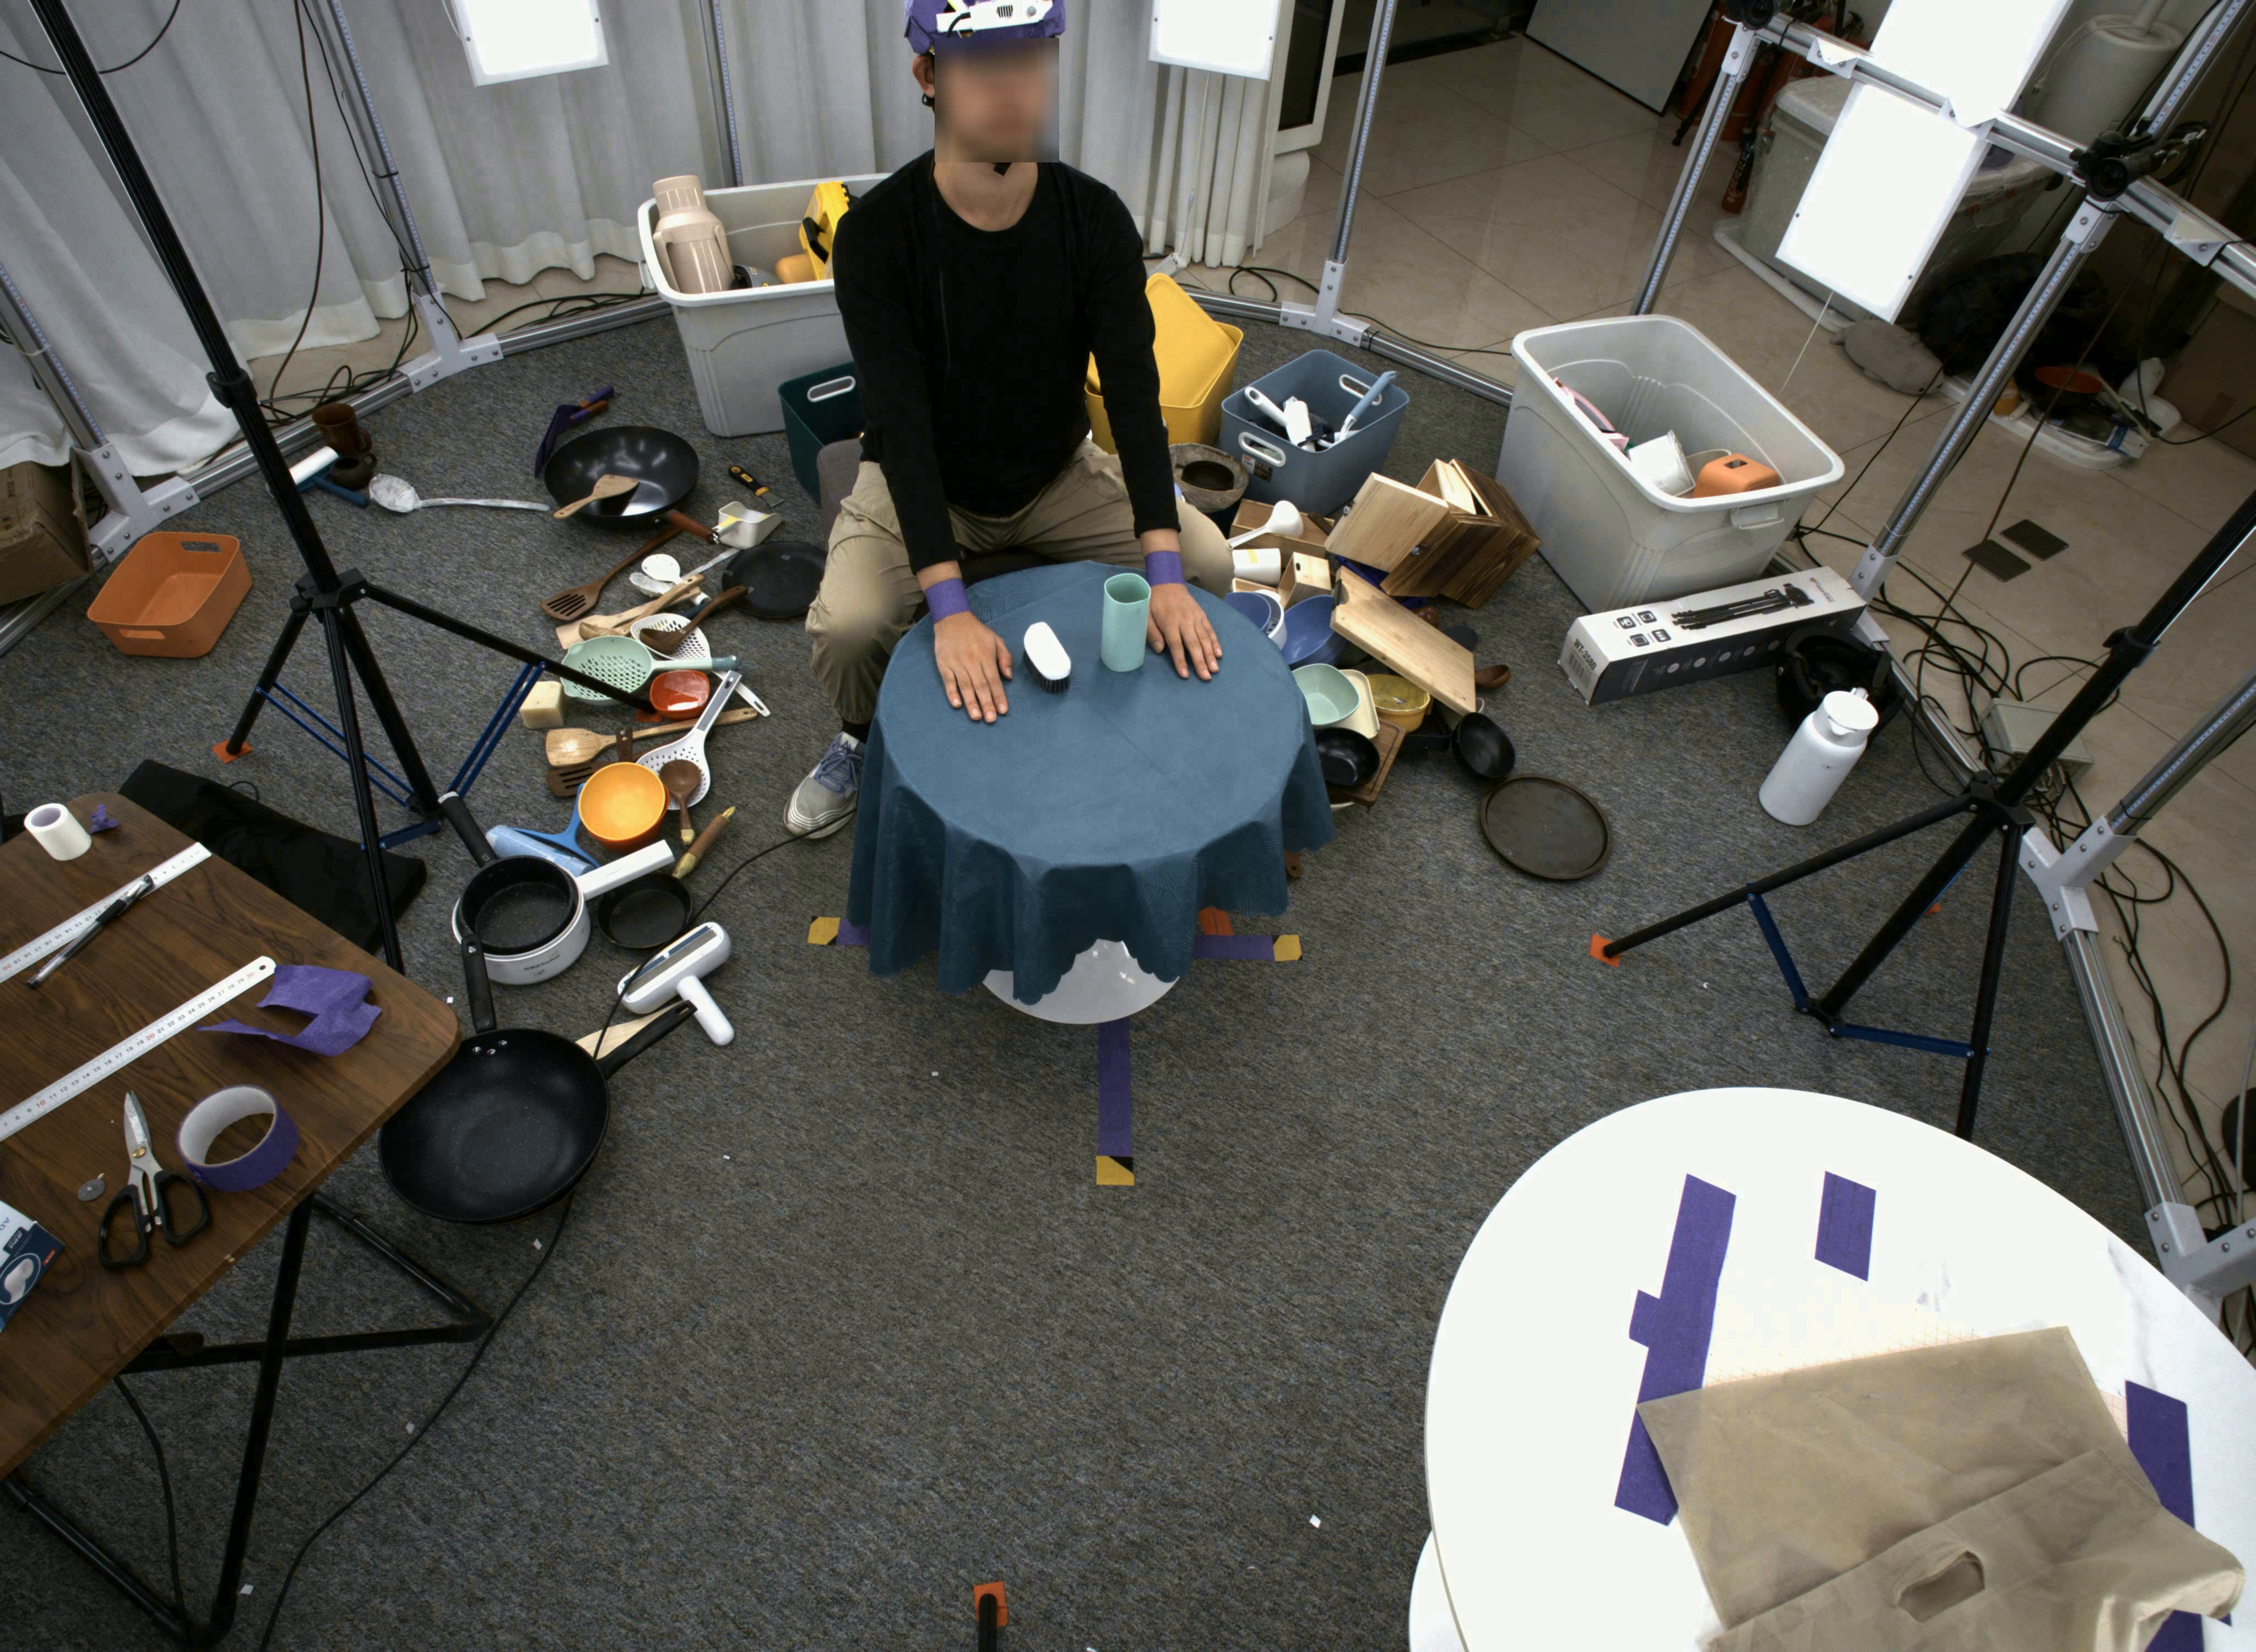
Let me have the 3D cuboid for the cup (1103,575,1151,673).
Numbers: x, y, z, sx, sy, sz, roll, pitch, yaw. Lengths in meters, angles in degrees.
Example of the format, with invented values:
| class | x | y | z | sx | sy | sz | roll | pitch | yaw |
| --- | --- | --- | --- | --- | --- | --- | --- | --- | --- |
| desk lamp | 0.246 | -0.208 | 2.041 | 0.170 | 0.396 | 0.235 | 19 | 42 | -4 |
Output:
| class | x | y | z | sx | sy | sz | roll | pitch | yaw |
| --- | --- | --- | --- | --- | --- | --- | --- | --- | --- |
| cup | -0.004 | -0.287 | 1.836 | 0.066 | 0.129 | 0.068 | 2 | 50 | -2 |

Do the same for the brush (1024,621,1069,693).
| class | x | y | z | sx | sy | sz | roll | pitch | yaw |
| --- | --- | --- | --- | --- | --- | --- | --- | --- | --- |
| brush | -0.116 | -0.248 | 1.826 | 0.050 | 0.071 | 0.101 | -15 | 53 | -18 |
